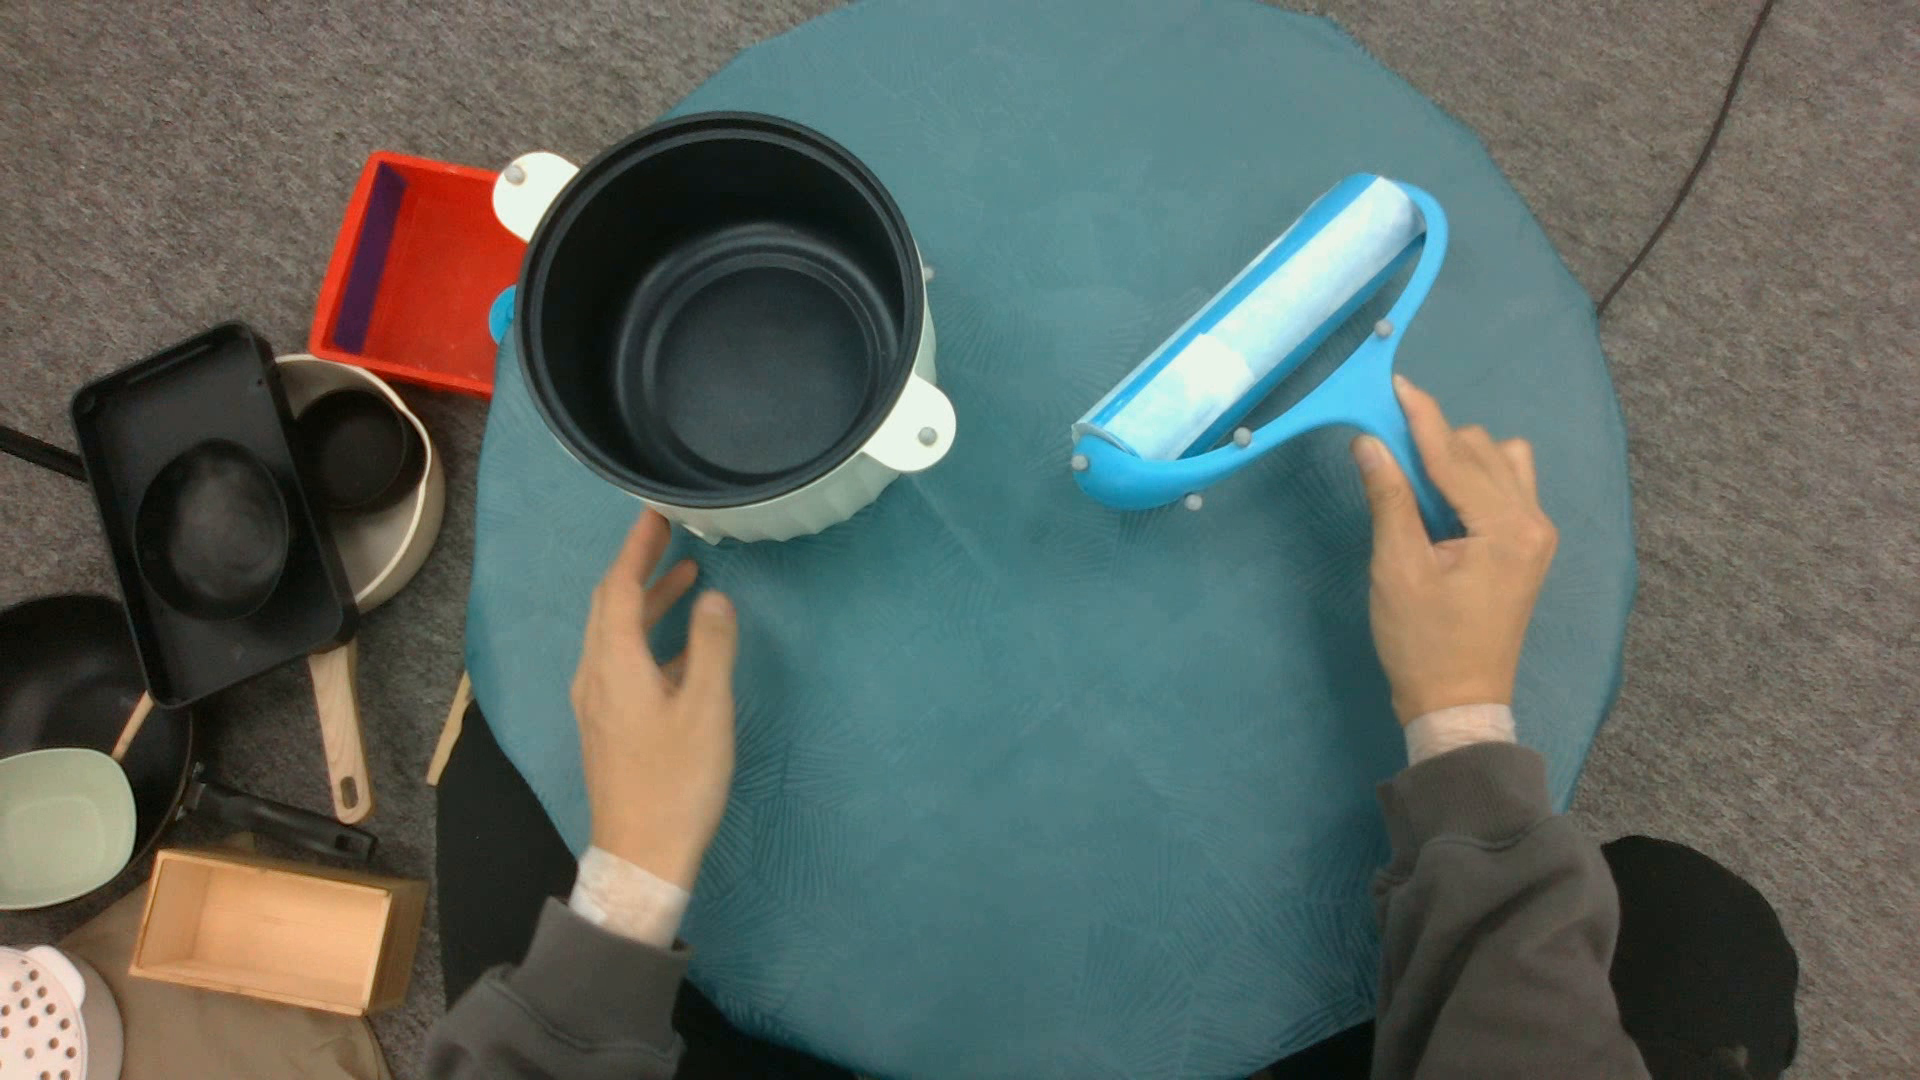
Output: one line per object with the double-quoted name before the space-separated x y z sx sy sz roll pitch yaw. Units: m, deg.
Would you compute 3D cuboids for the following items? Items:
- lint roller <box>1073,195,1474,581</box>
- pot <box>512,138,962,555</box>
"lint roller" 0.186 -0.056 0.672 0.180 0.067 0.229 42 74 14
"pot" -0.096 -0.090 0.684 0.240 0.142 0.190 31 86 9
